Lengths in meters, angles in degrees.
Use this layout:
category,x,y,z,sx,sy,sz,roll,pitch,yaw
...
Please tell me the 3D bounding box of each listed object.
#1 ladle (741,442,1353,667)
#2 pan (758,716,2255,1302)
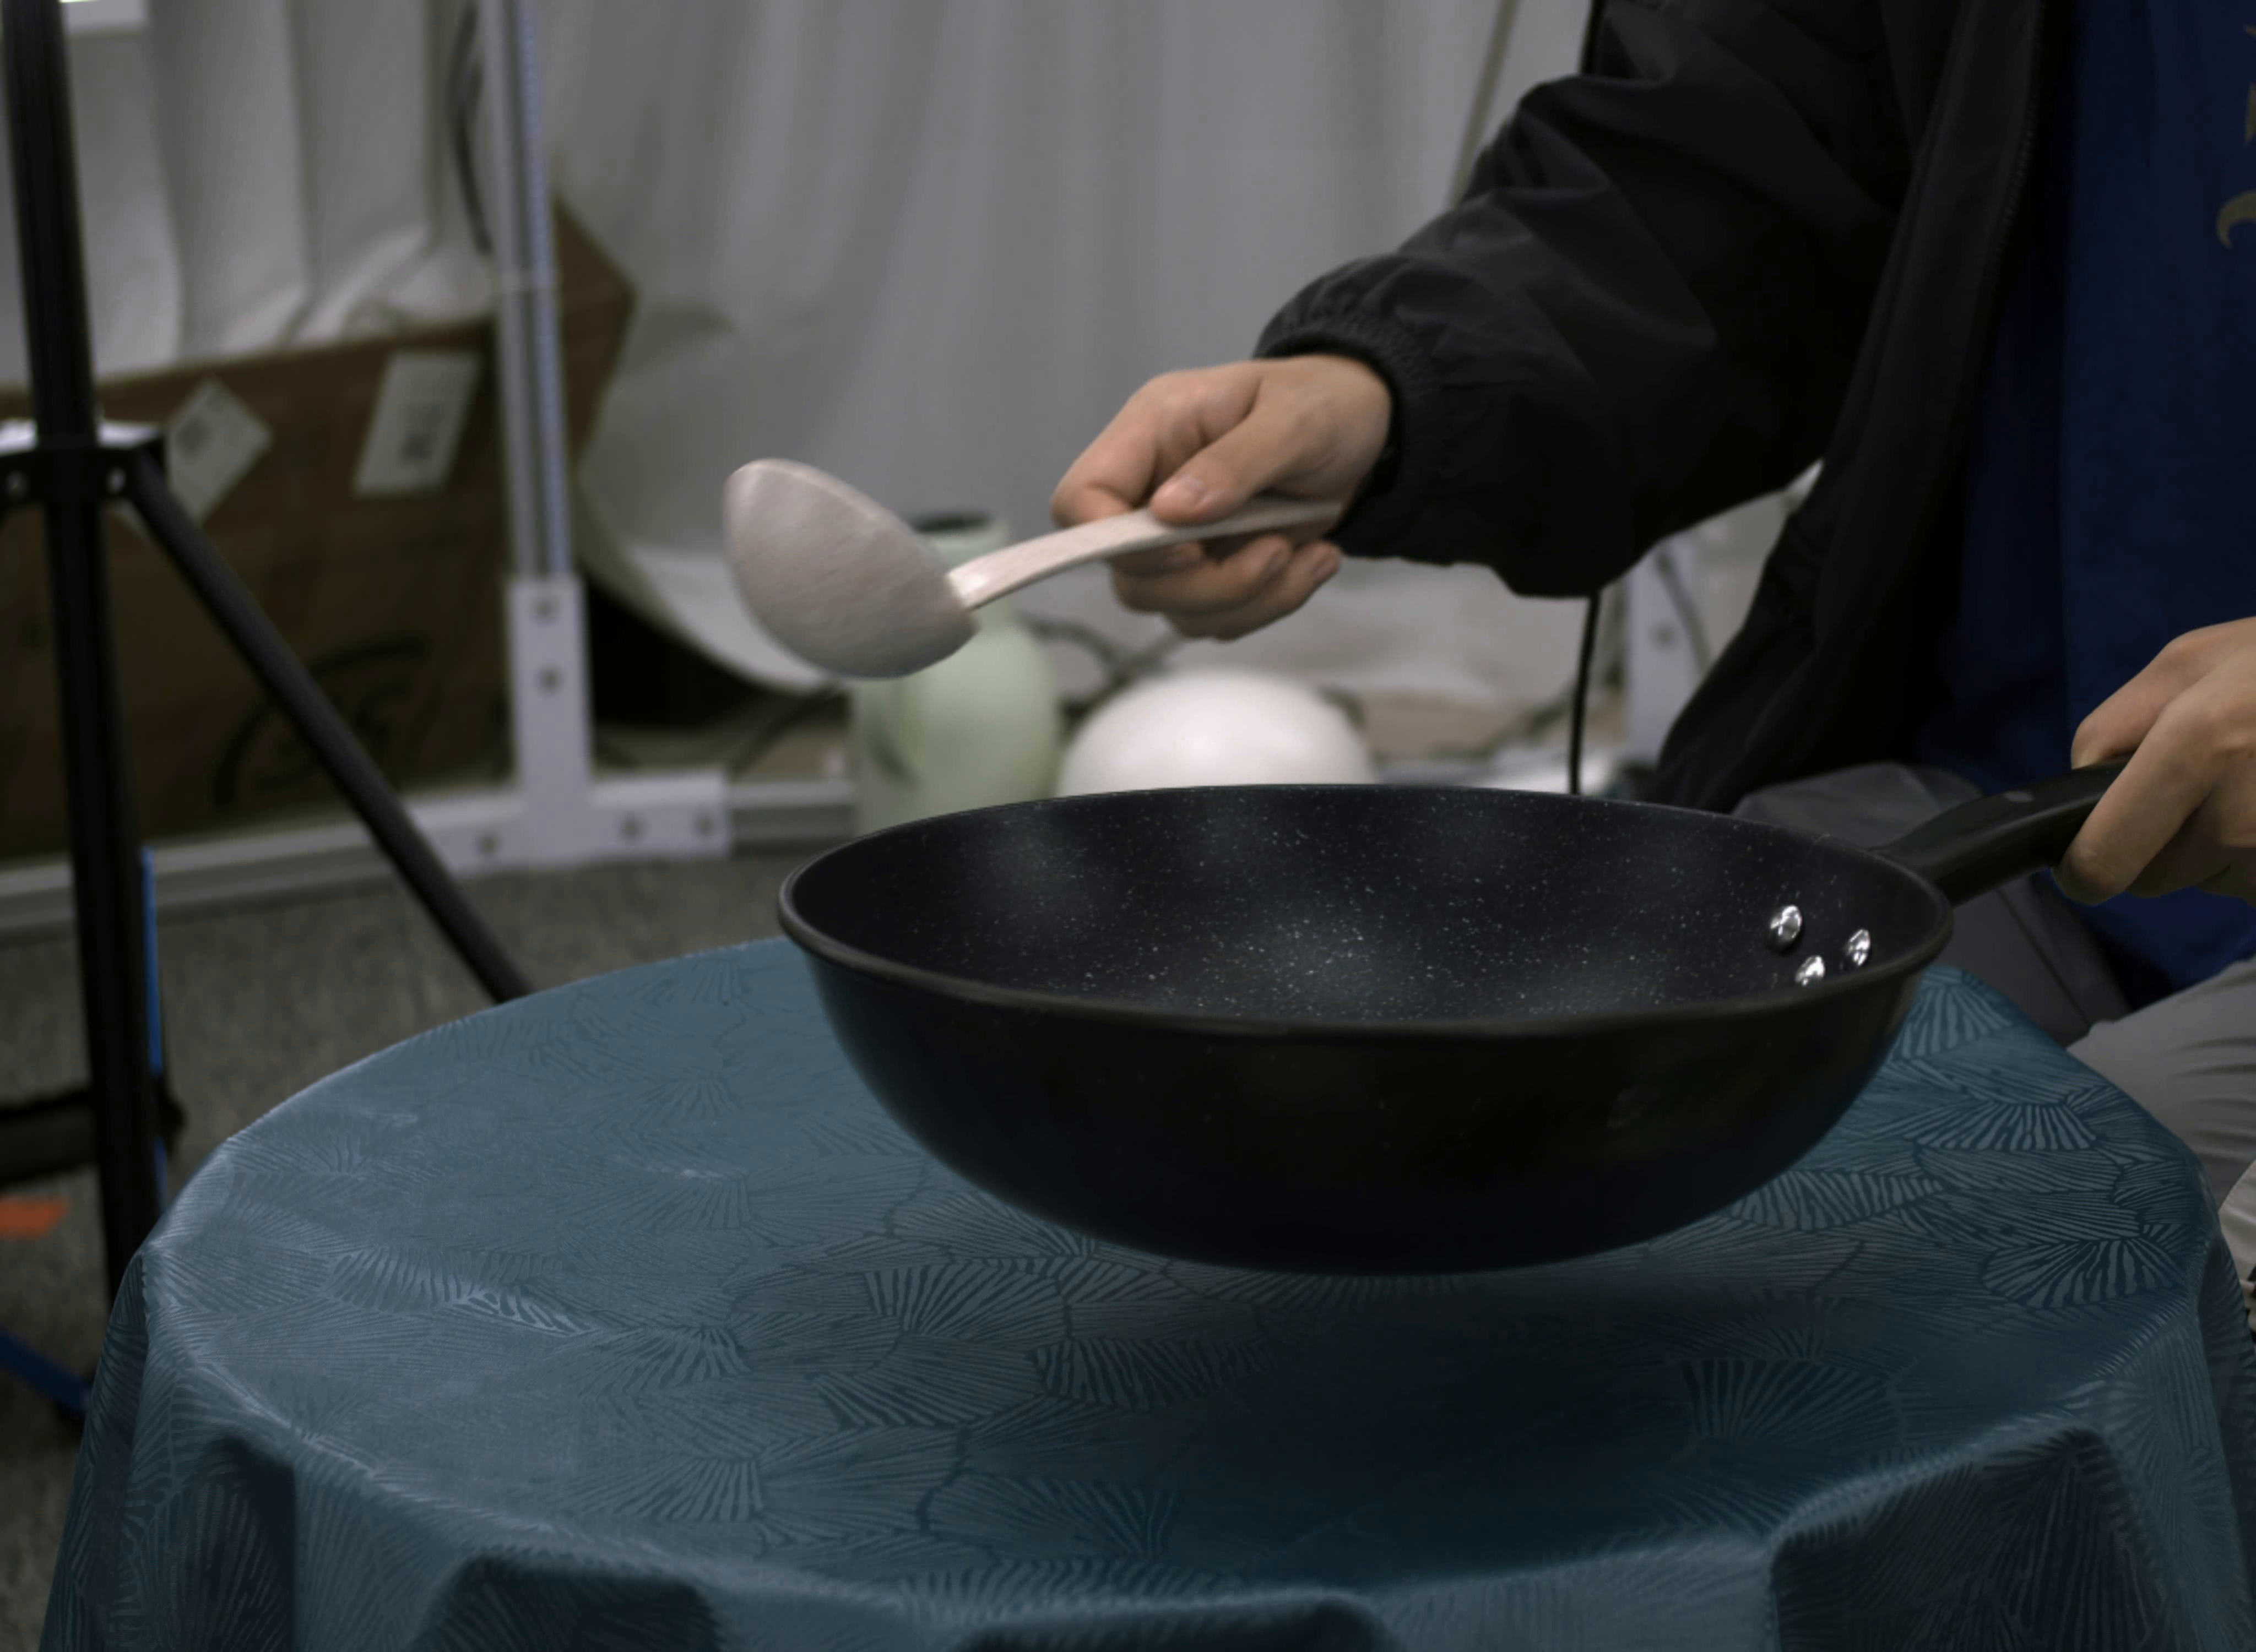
category,x,y,z,sx,sy,sz,roll,pitch,yaw
ladle,-0.010,-0.103,1.630,0.091,0.069,0.269,18,24,35
pan,0.132,0.042,1.422,0.467,0.112,0.316,-5,13,-23
